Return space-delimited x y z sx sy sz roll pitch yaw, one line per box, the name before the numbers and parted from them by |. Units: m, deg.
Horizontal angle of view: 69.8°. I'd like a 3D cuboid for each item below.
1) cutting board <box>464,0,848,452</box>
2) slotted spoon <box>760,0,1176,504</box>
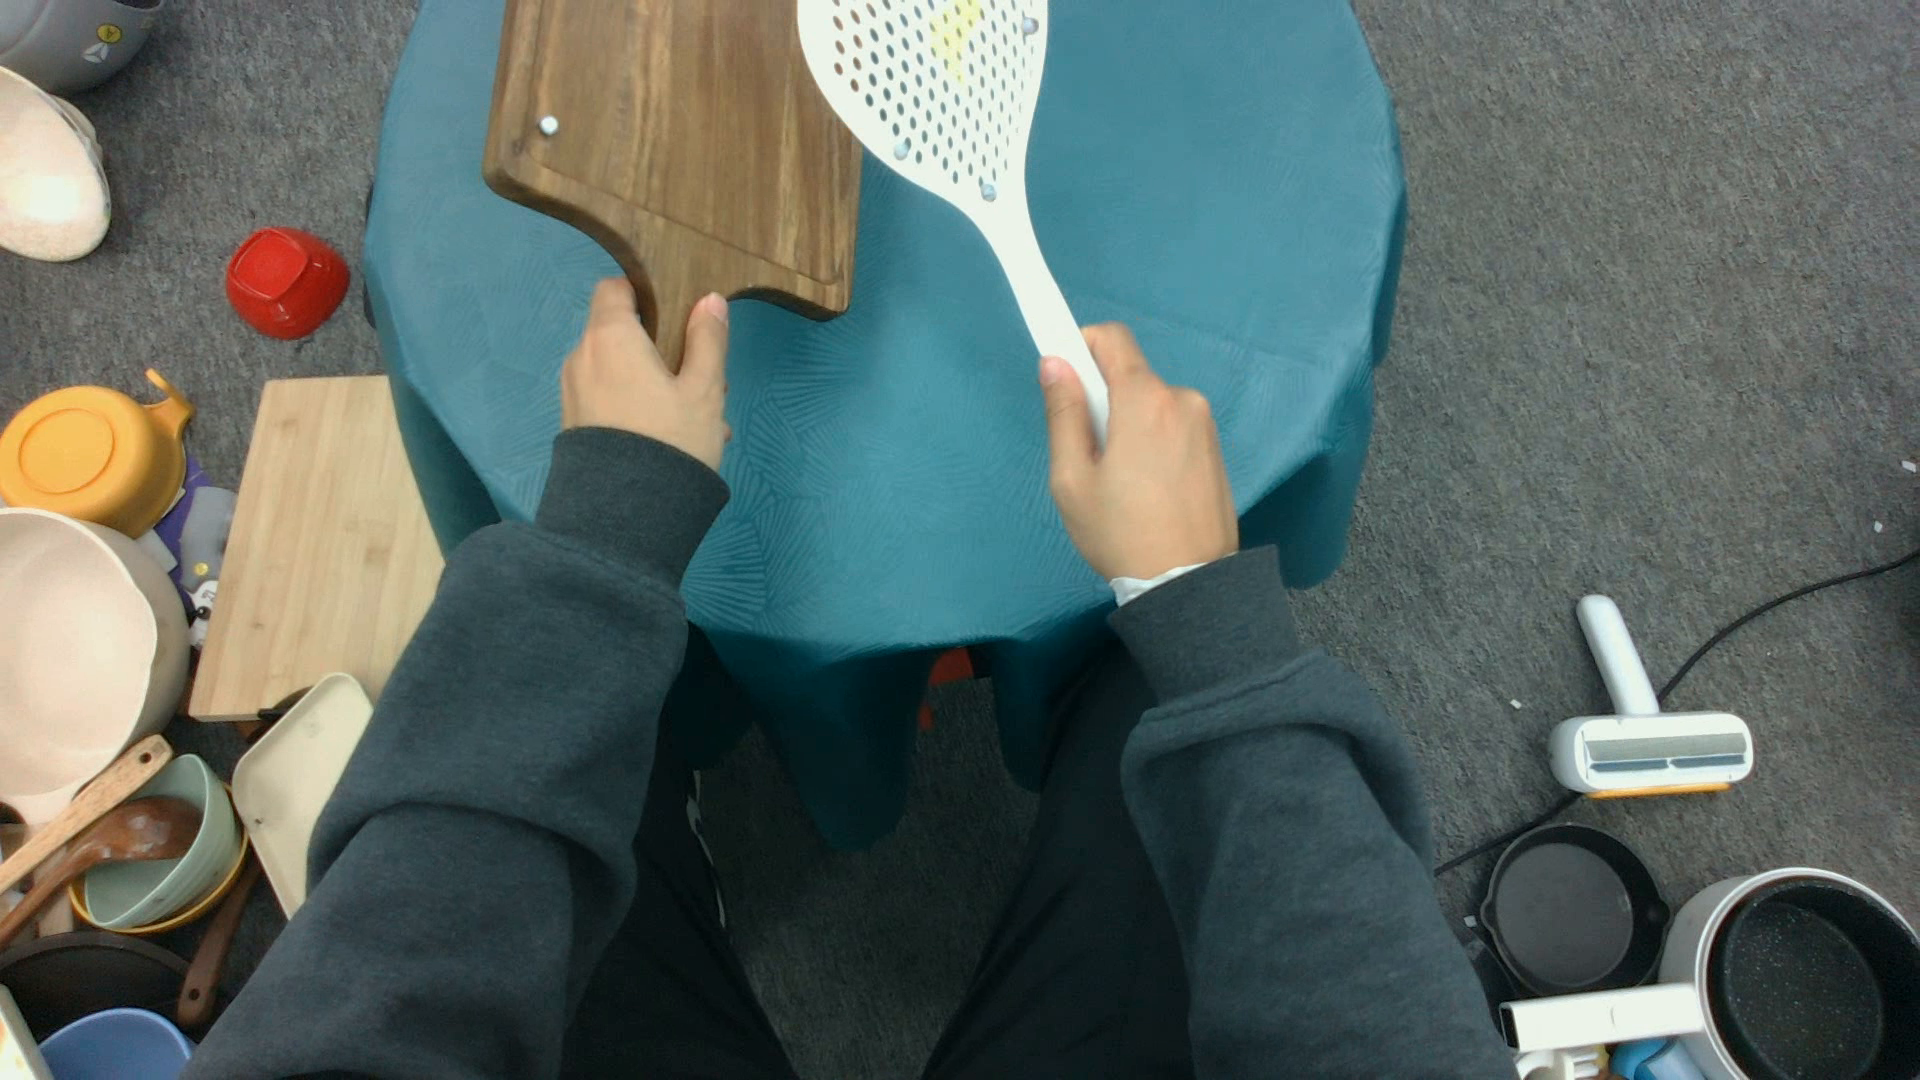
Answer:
cutting board | -0.142 -0.214 0.684 0.201 0.023 0.353 15 70 -41
slotted spoon | 0.011 -0.170 0.657 0.136 0.050 0.348 -30 74 27
